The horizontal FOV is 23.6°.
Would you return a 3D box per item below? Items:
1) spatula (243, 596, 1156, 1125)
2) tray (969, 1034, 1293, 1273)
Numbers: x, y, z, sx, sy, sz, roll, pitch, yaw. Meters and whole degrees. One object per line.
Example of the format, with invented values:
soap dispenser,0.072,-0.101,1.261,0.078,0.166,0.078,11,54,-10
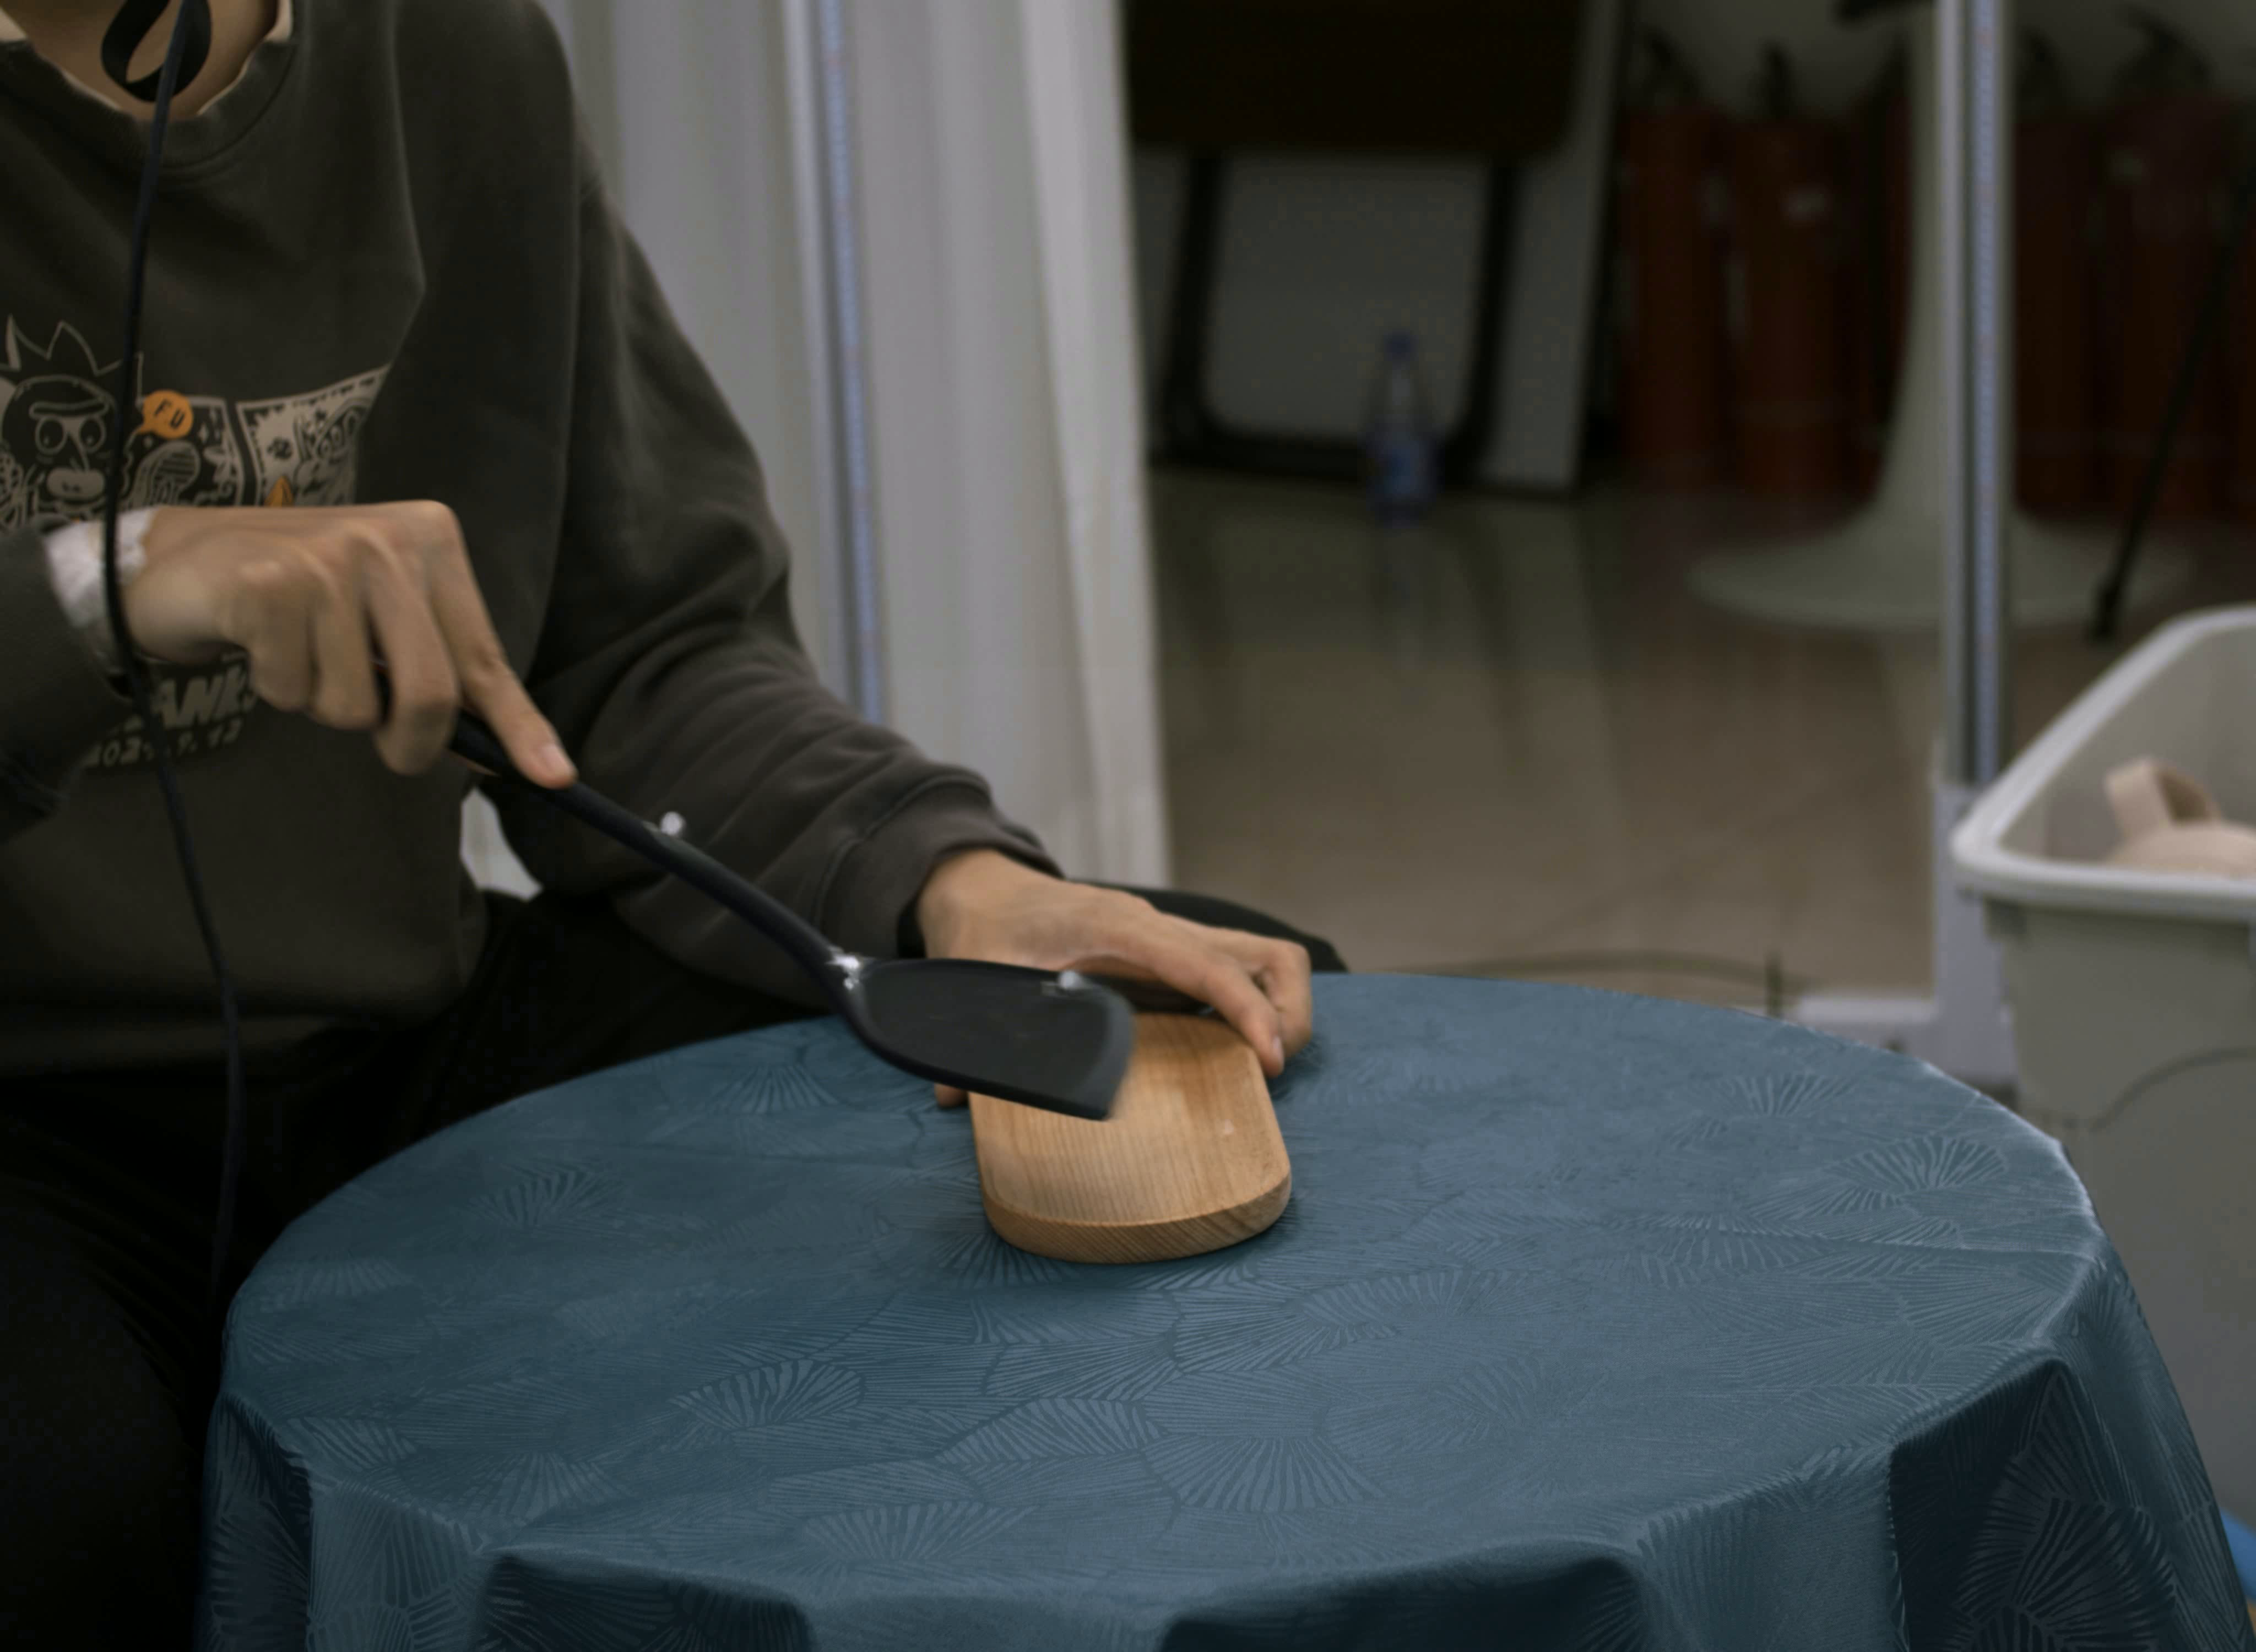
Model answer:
spatula,-0.137,0.006,1.727,0.324,0.041,0.099,33,20,-3
tray,0.000,0.107,1.803,0.100,0.020,0.232,-6,15,-2
